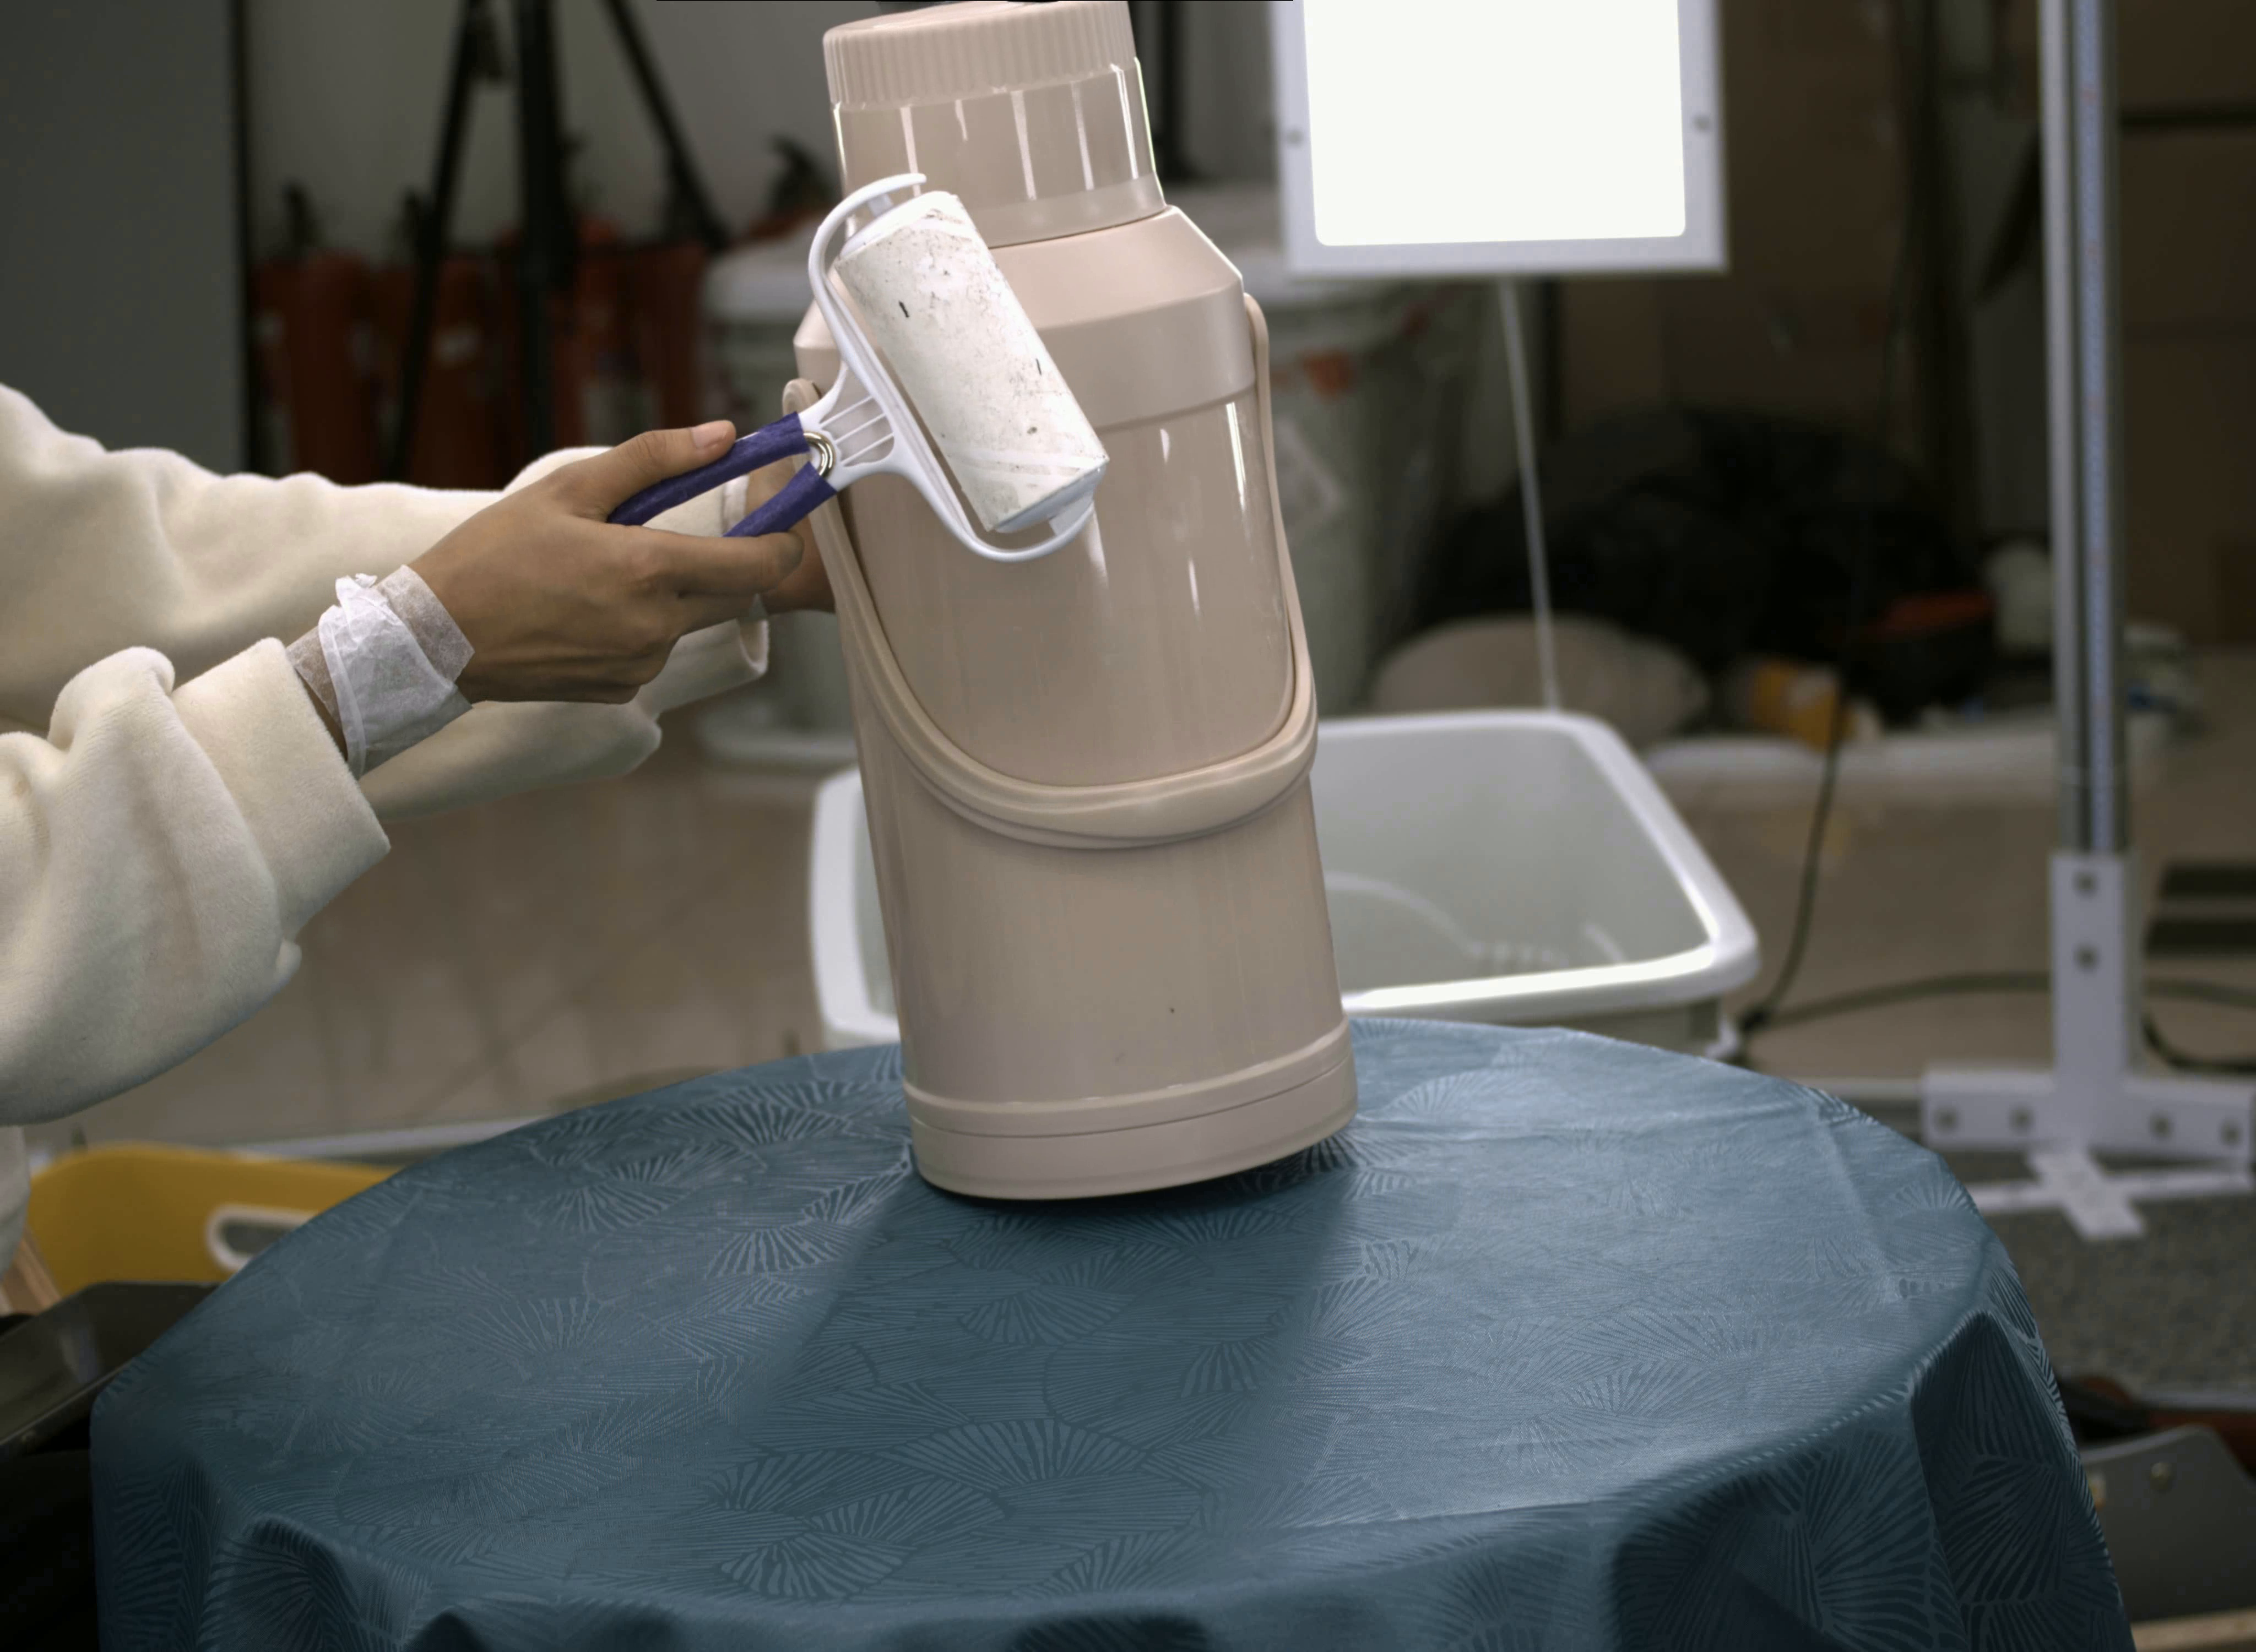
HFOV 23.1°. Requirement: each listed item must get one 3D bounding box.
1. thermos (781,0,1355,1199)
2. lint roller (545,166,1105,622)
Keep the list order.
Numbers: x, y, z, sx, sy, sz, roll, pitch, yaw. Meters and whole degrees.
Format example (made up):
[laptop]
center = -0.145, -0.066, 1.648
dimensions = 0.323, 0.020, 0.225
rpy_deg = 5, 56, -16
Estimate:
[thermos]
center = -0.029, -0.085, 1.916
dimensions = 0.172, 0.407, 0.210
rpy_deg = -14, 12, -23
[lint roller]
center = -0.109, -0.119, 1.766
dimensions = 0.180, 0.133, 0.050
rpy_deg = -29, 4, -2
